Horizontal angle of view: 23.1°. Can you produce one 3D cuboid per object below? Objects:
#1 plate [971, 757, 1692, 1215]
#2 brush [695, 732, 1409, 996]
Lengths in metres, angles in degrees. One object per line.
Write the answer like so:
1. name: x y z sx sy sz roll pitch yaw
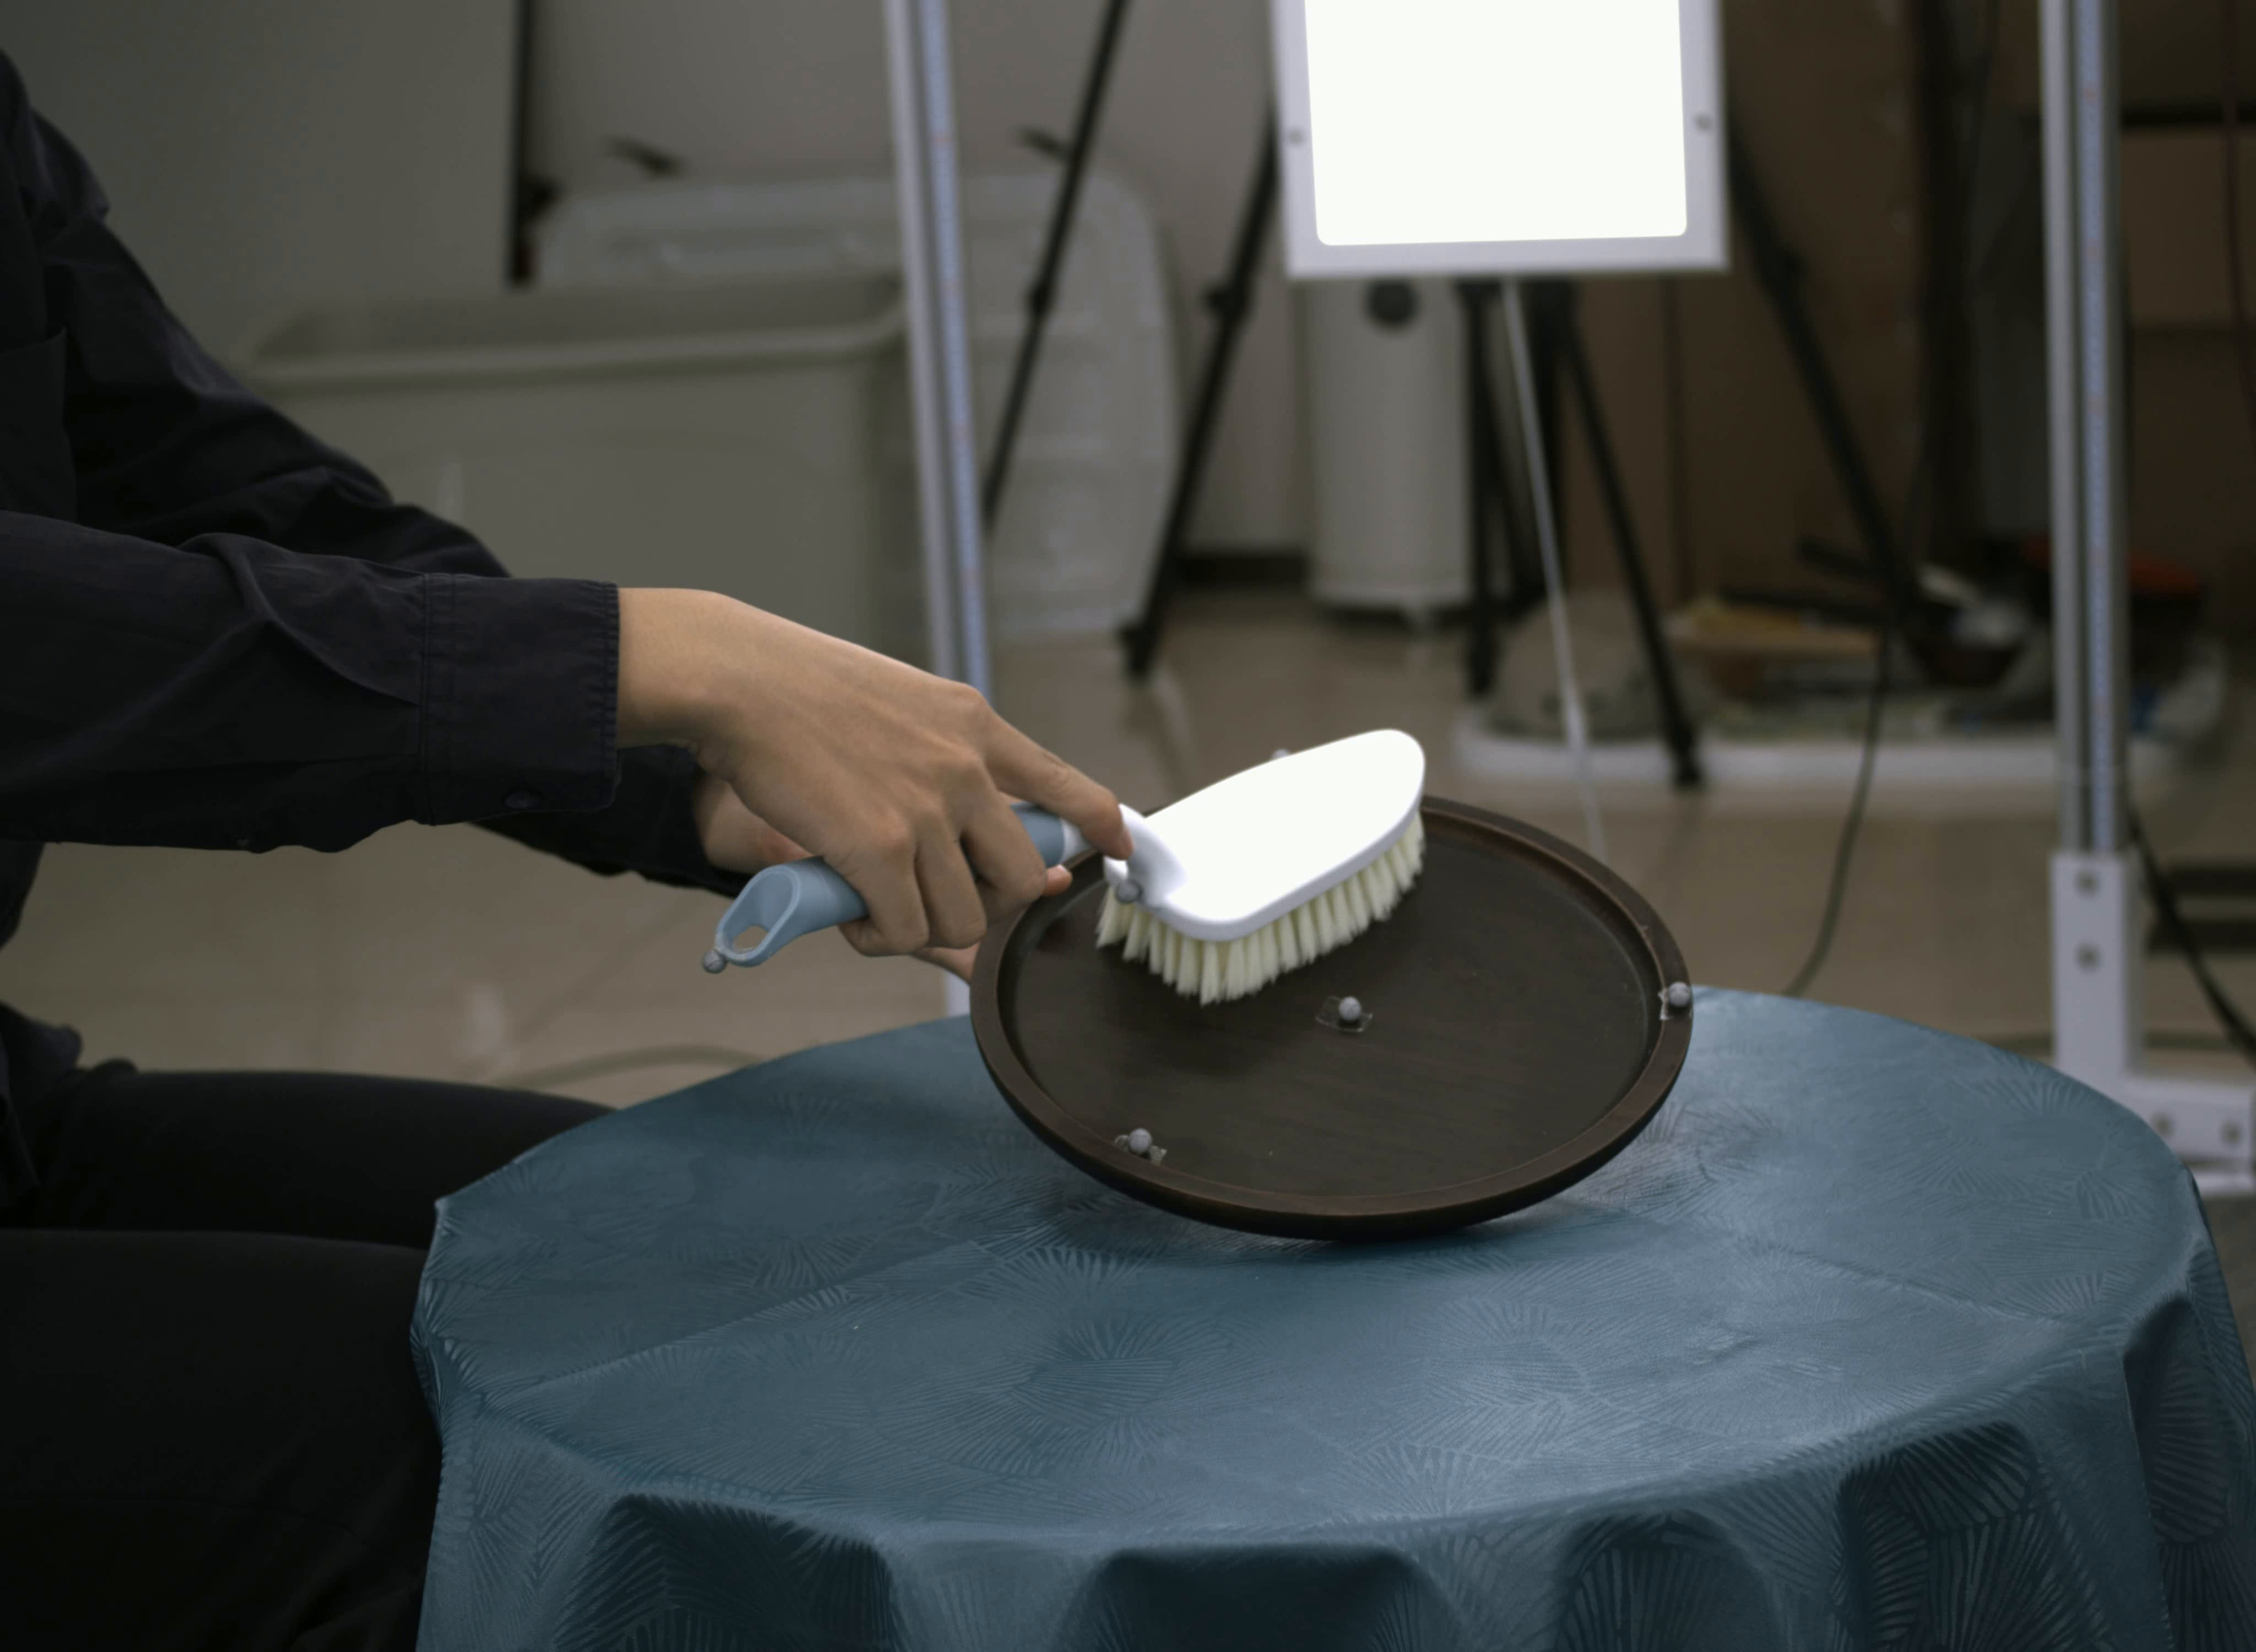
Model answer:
1. plate: 0.071 0.054 1.925 0.254 0.029 0.254 -2 36 0
2. brush: -0.026 0.030 1.890 0.317 0.085 0.085 -14 -2 -40
